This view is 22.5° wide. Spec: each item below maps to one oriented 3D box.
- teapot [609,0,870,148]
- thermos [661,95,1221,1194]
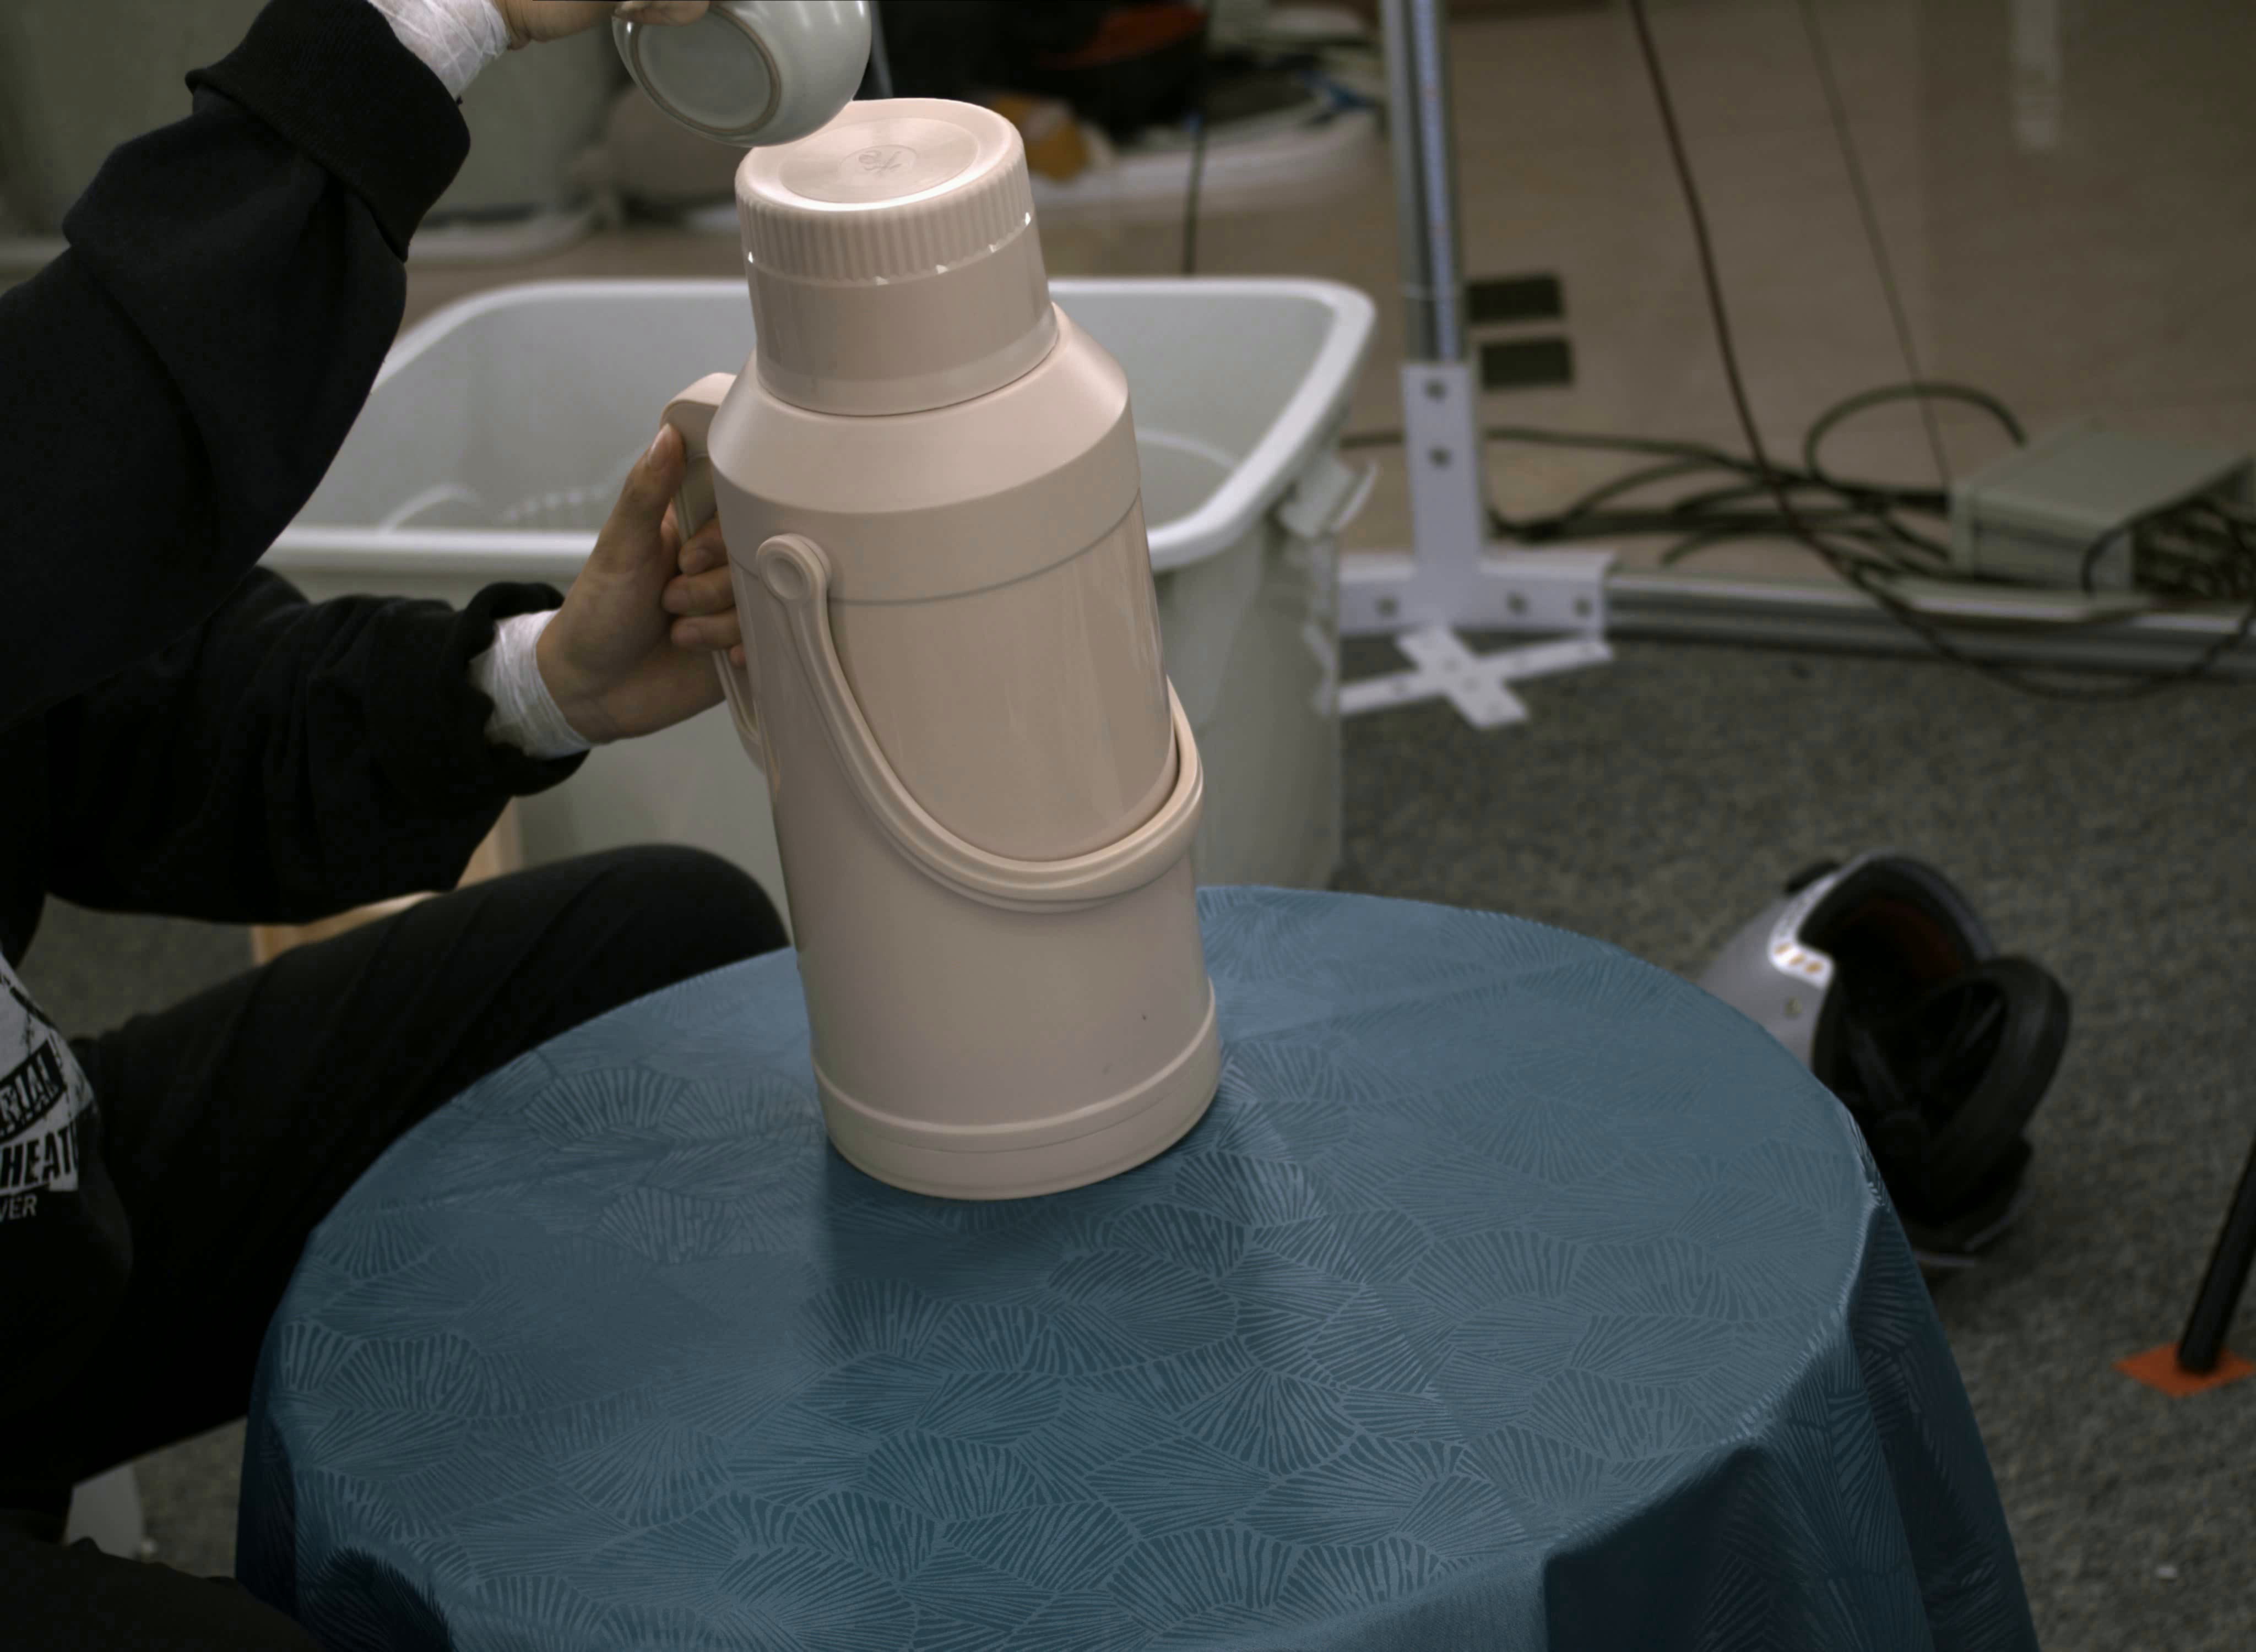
[{"bbox_3d":[-0.134,-0.283,1.920,0.091,0.130,0.059,14,48,24],"label":"teapot"},{"bbox_3d":[-0.076,-0.072,2.126,0.206,0.414,0.173,14,39,31],"label":"thermos"}]
